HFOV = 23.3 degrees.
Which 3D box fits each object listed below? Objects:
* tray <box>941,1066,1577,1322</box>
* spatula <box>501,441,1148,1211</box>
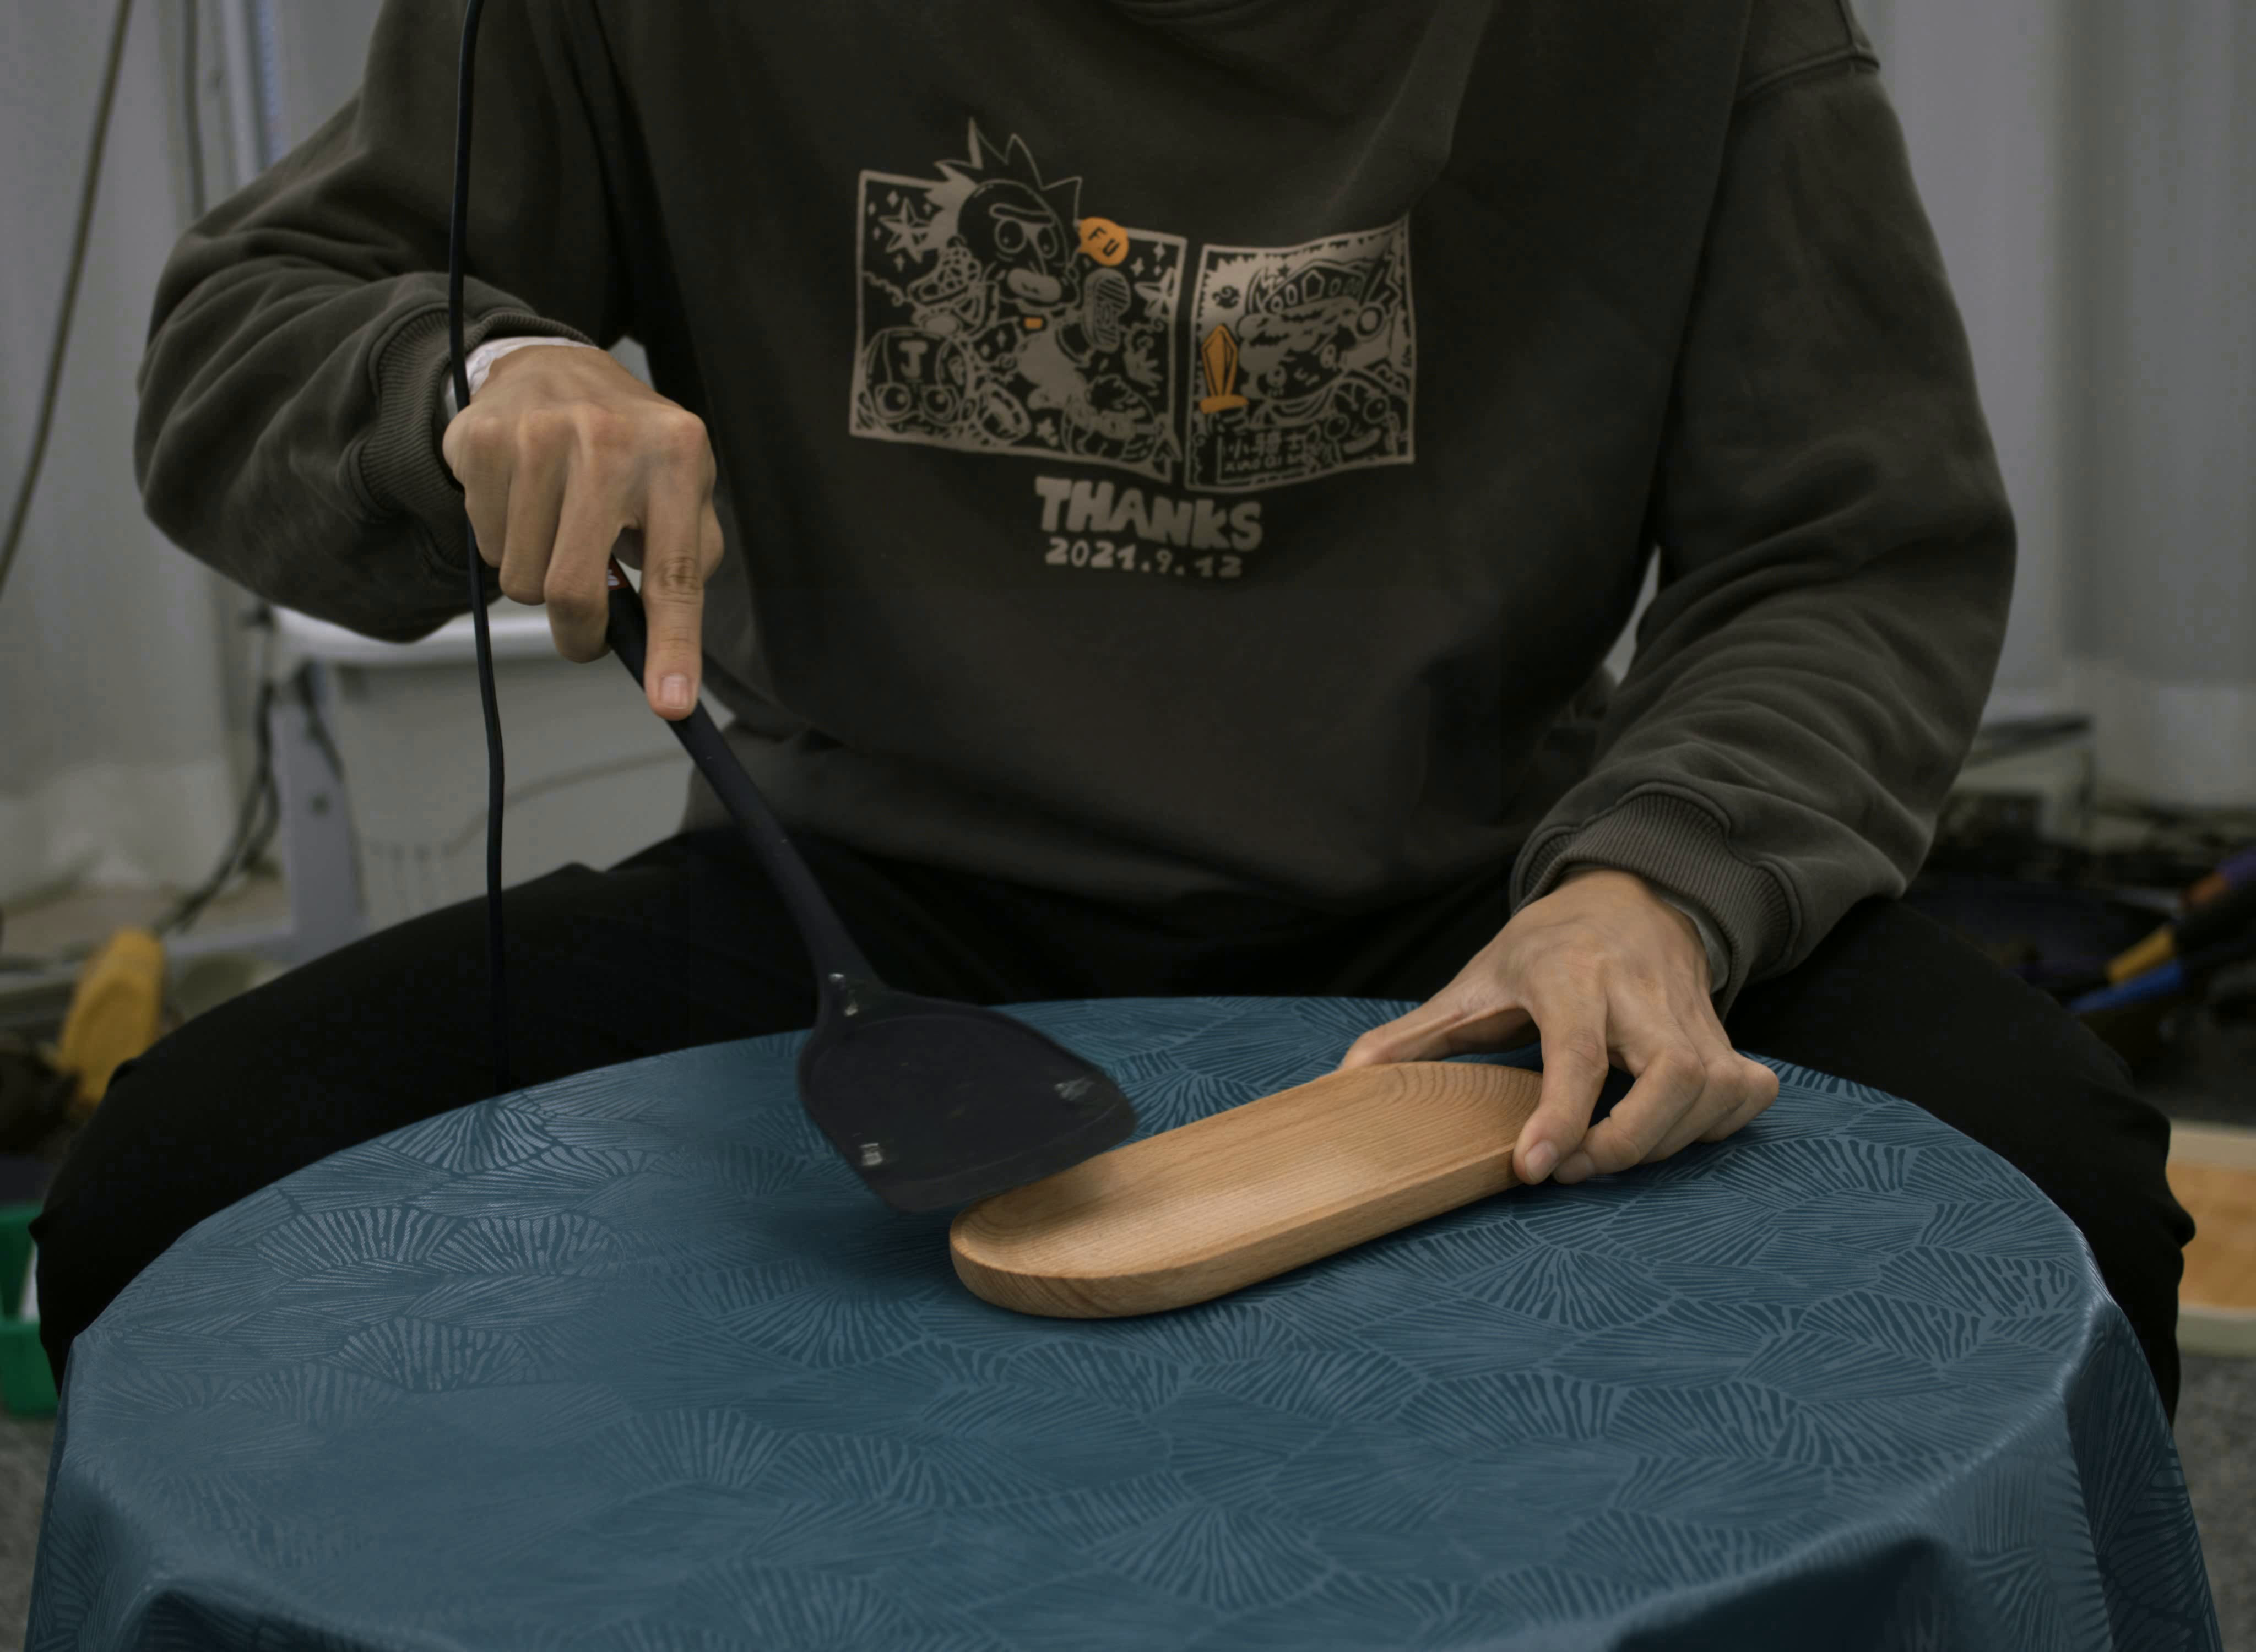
[{"bbox_3d":[0.043,0.112,1.689,0.231,0.020,0.102,-18,19,-39],"label":"tray"},{"bbox_3d":[-0.115,-0.008,1.733,0.099,0.040,0.330,-16,61,-35],"label":"spatula"}]
